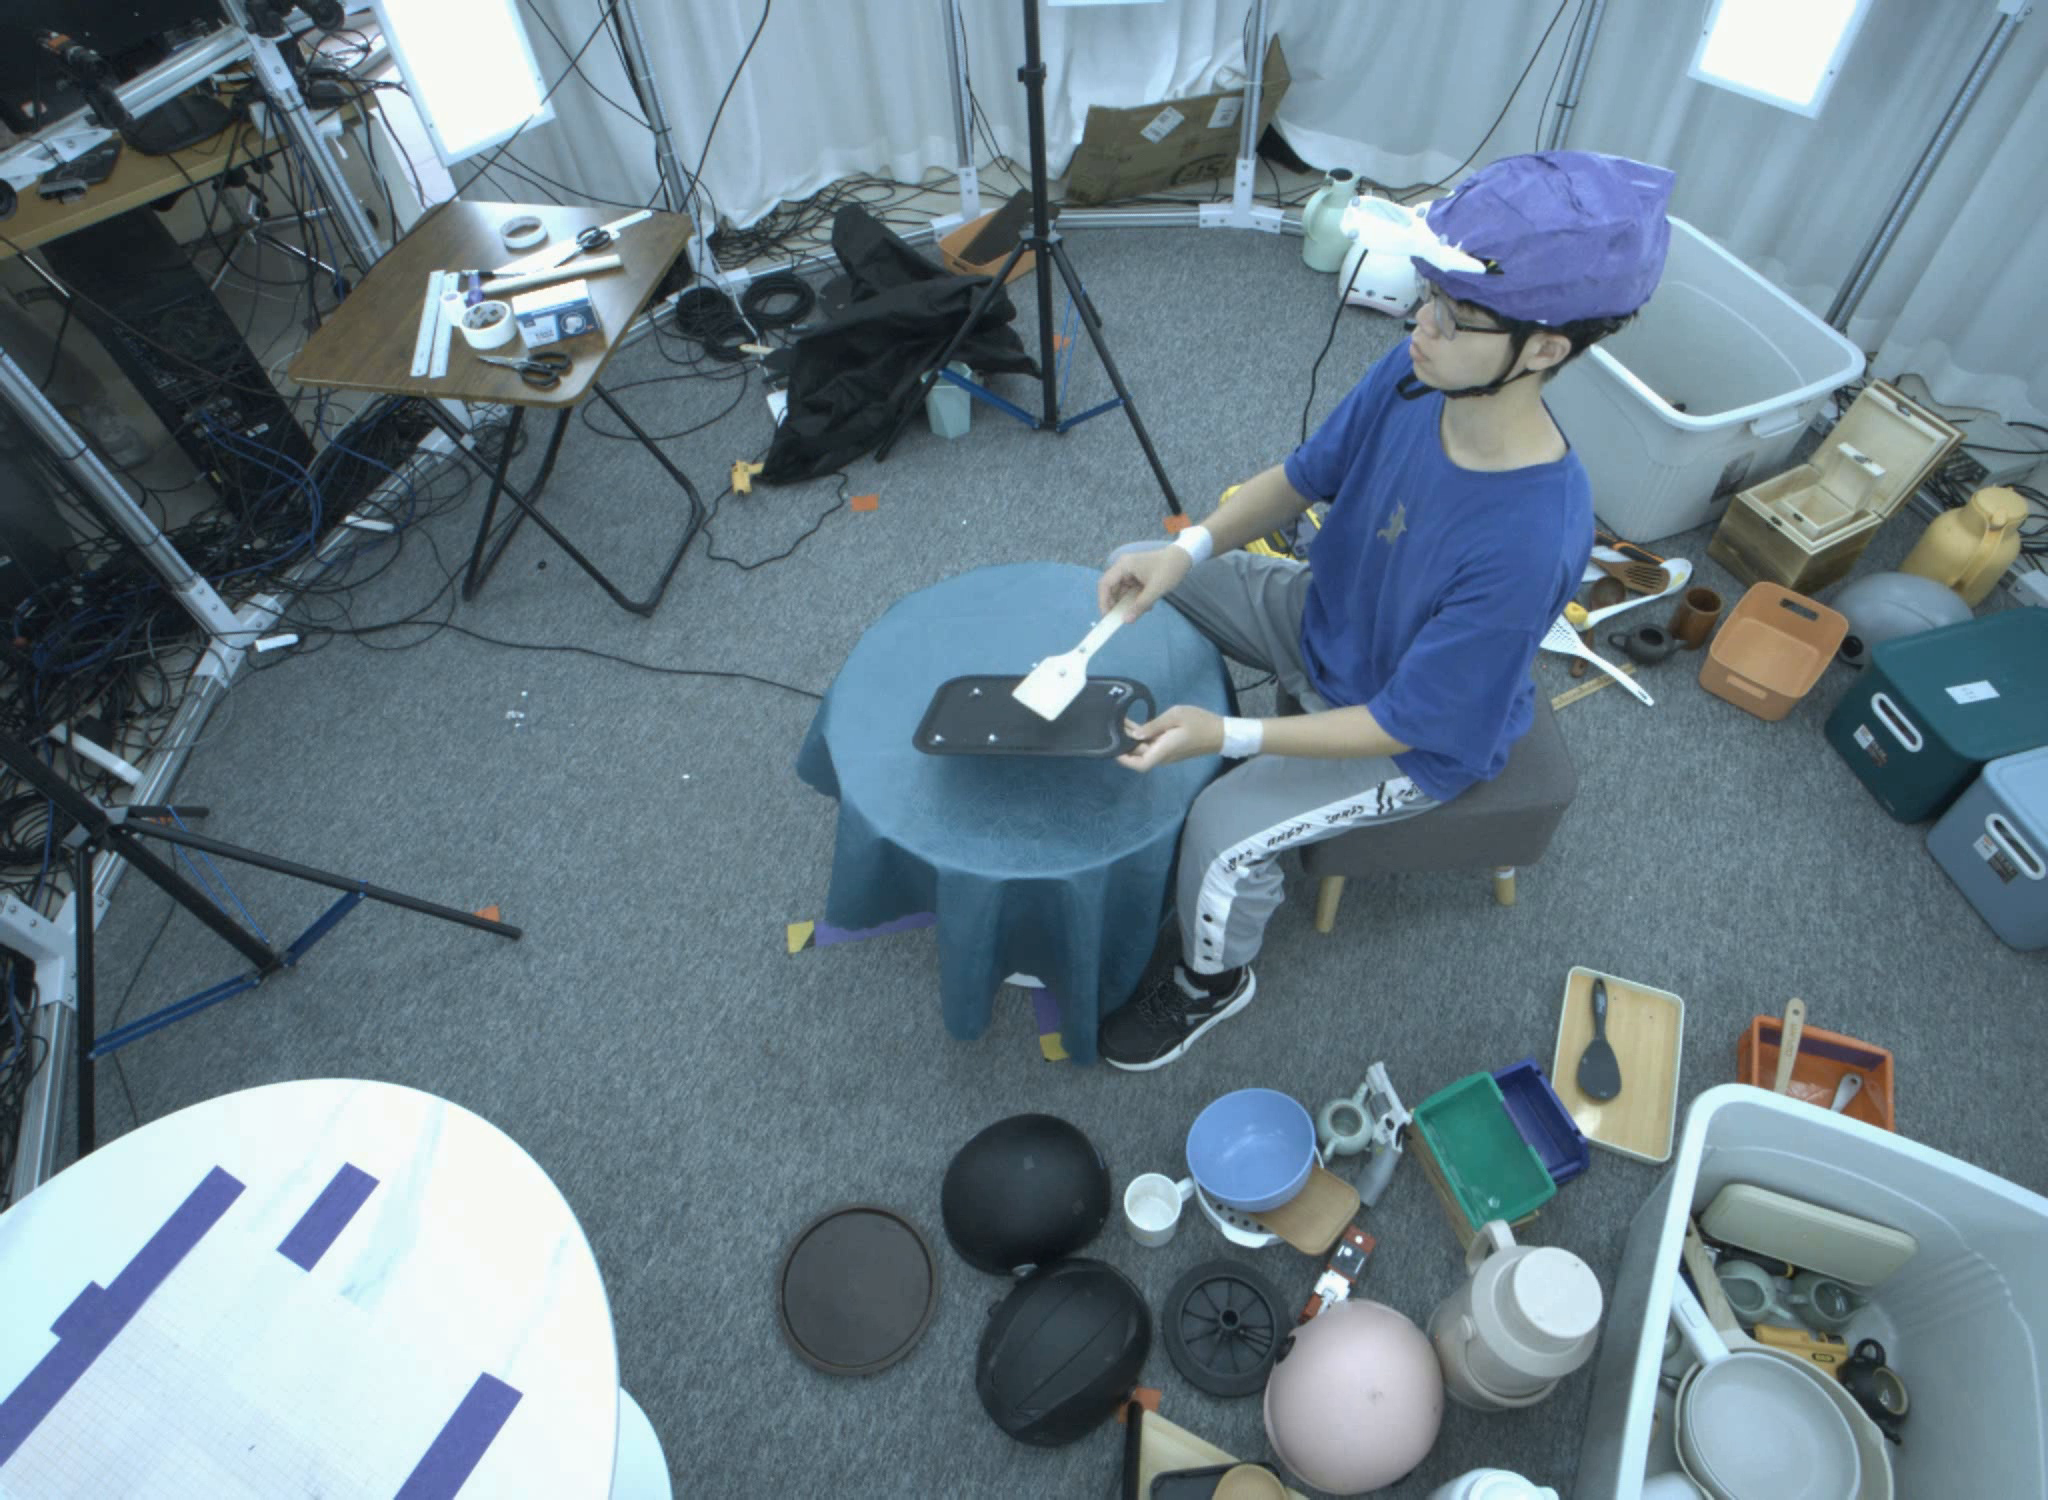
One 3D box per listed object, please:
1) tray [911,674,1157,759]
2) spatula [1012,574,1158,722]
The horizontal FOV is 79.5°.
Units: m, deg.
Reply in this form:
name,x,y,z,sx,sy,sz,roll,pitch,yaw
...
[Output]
name,x,y,z,sx,sy,sz,roll,pitch,yaw
tray,0.019,-0.051,1.684,0.322,0.010,0.210,2,34,12
spatula,0.095,-0.152,1.705,0.071,0.011,0.294,36,63,12
